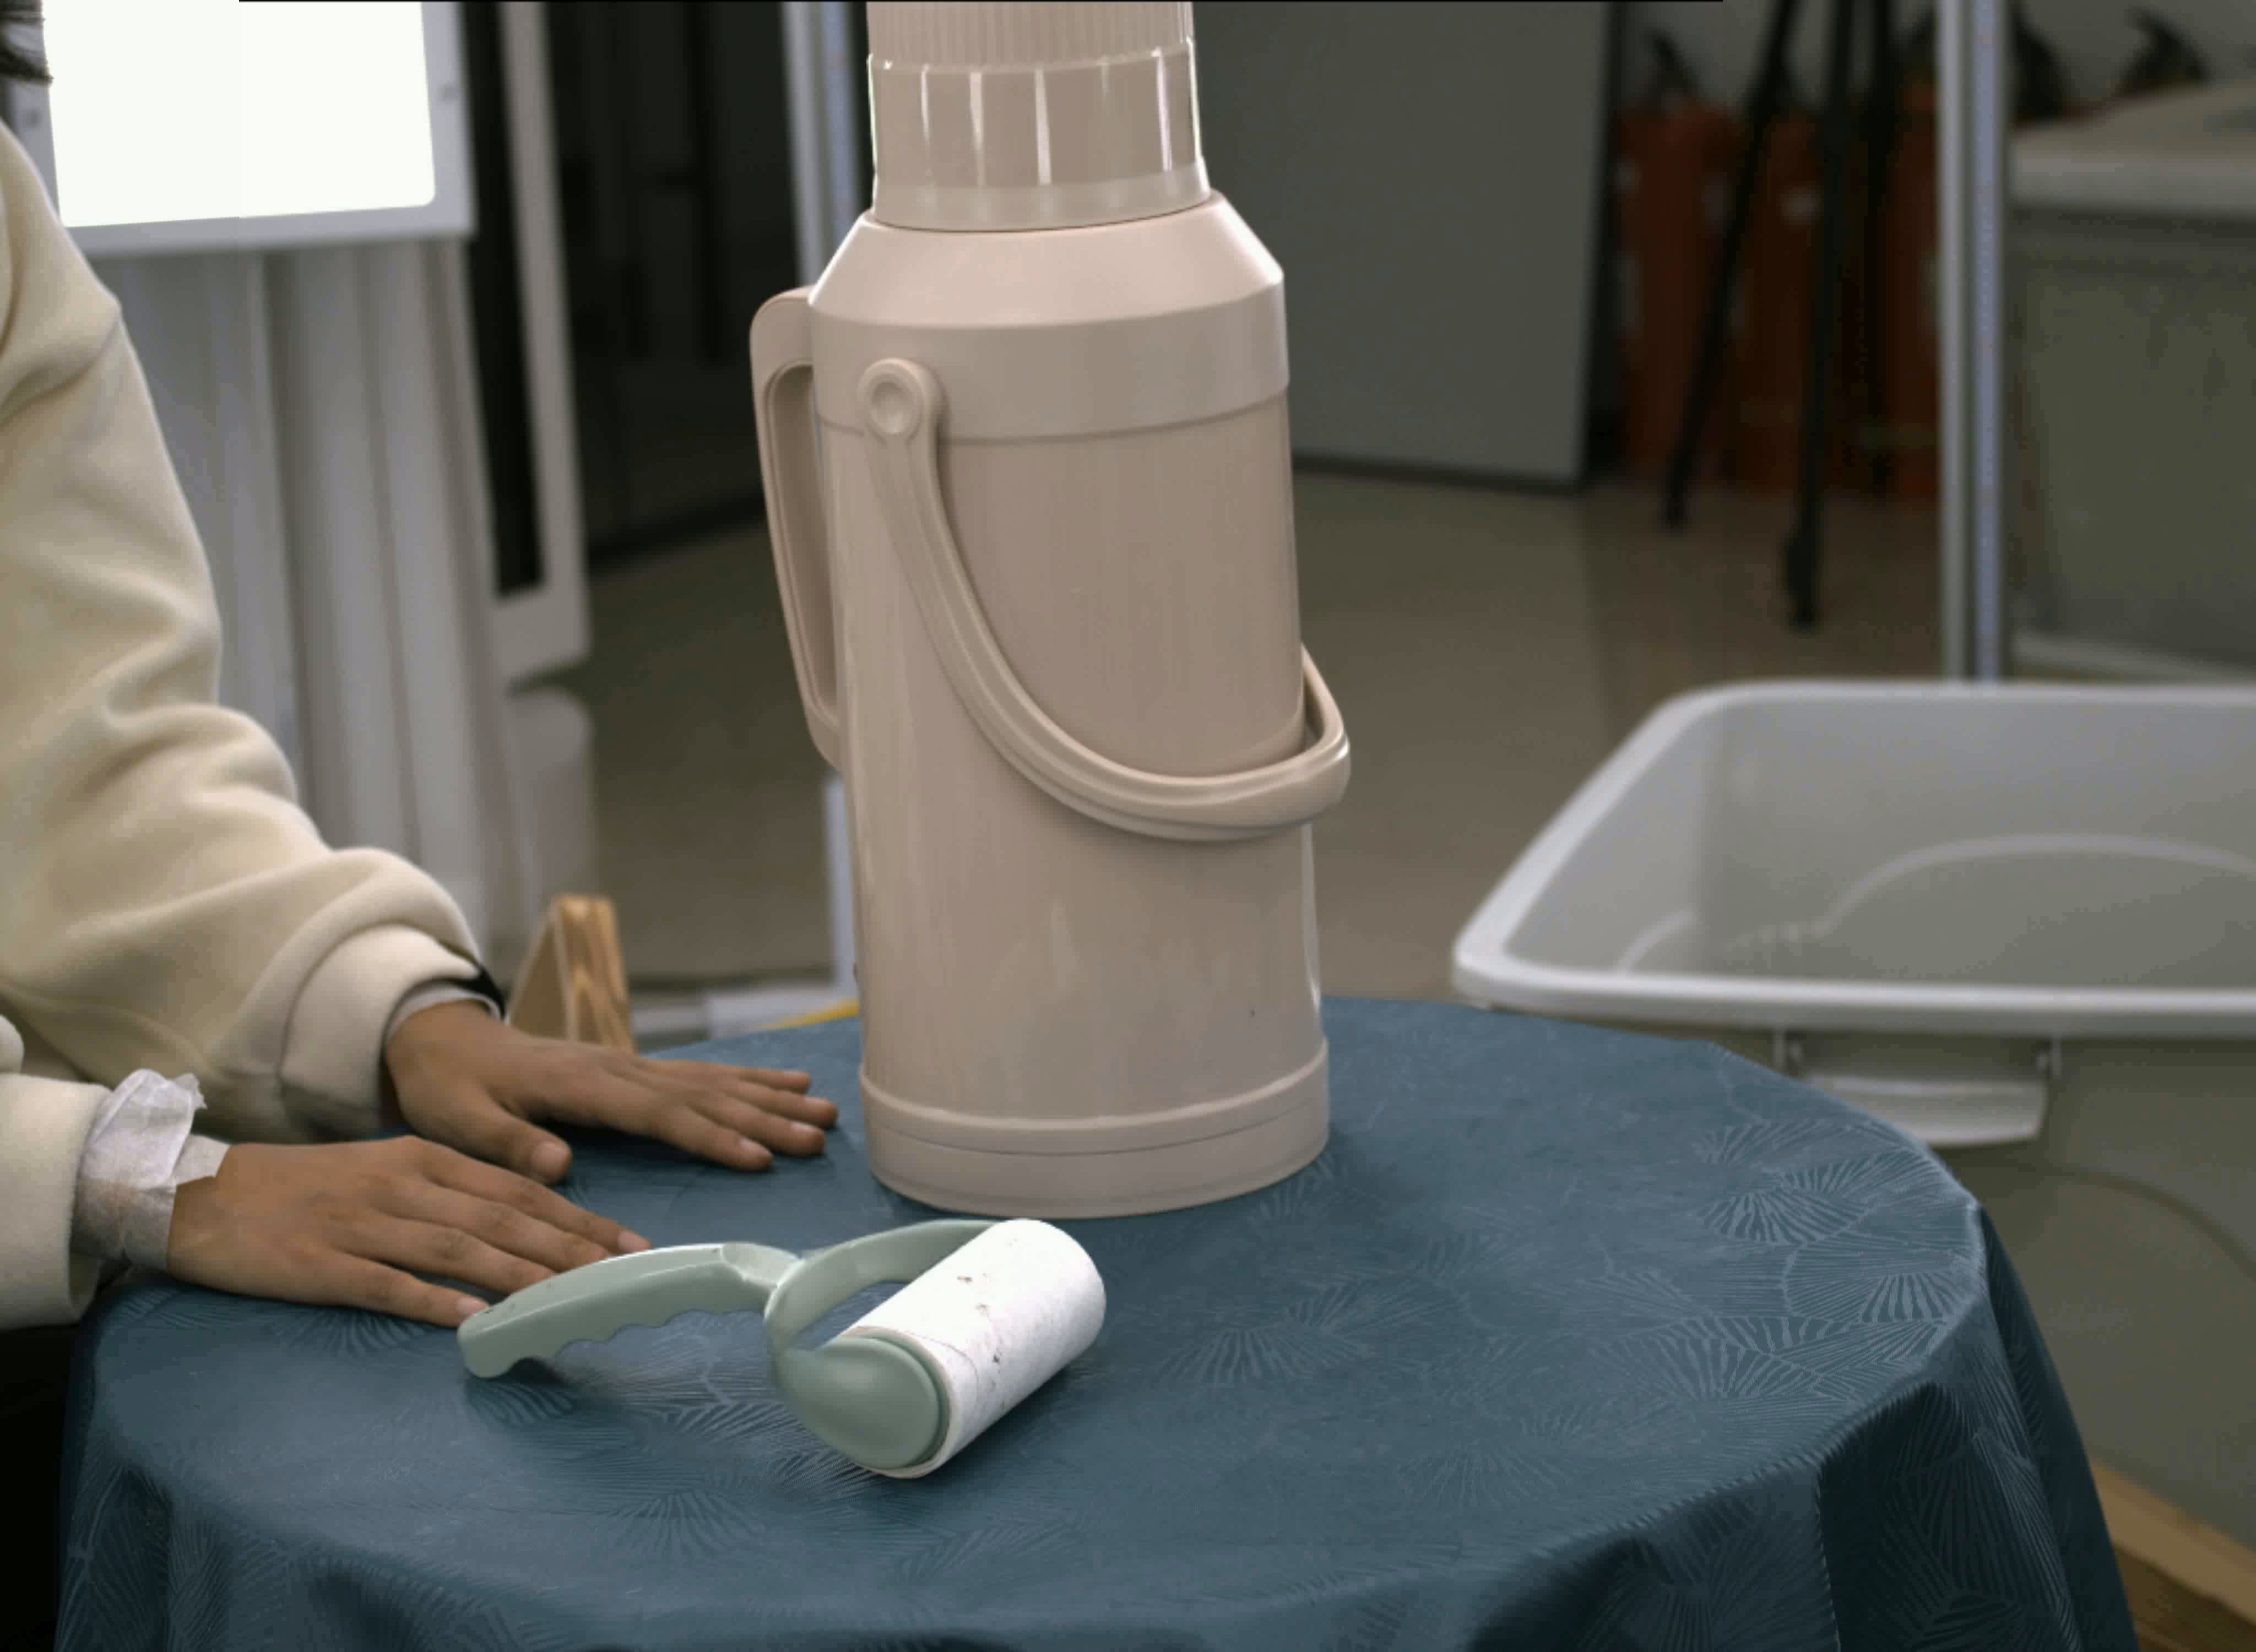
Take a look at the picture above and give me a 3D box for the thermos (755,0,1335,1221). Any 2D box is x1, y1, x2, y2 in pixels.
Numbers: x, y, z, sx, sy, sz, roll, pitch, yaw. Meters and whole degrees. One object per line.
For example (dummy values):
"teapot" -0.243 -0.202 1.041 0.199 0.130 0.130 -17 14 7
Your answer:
"thermos" -0.032 -0.085 1.783 0.208 0.411 0.172 5 16 36

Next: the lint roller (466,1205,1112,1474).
"lint roller" -0.110 0.145 1.606 0.198 0.049 0.115 4 18 26
